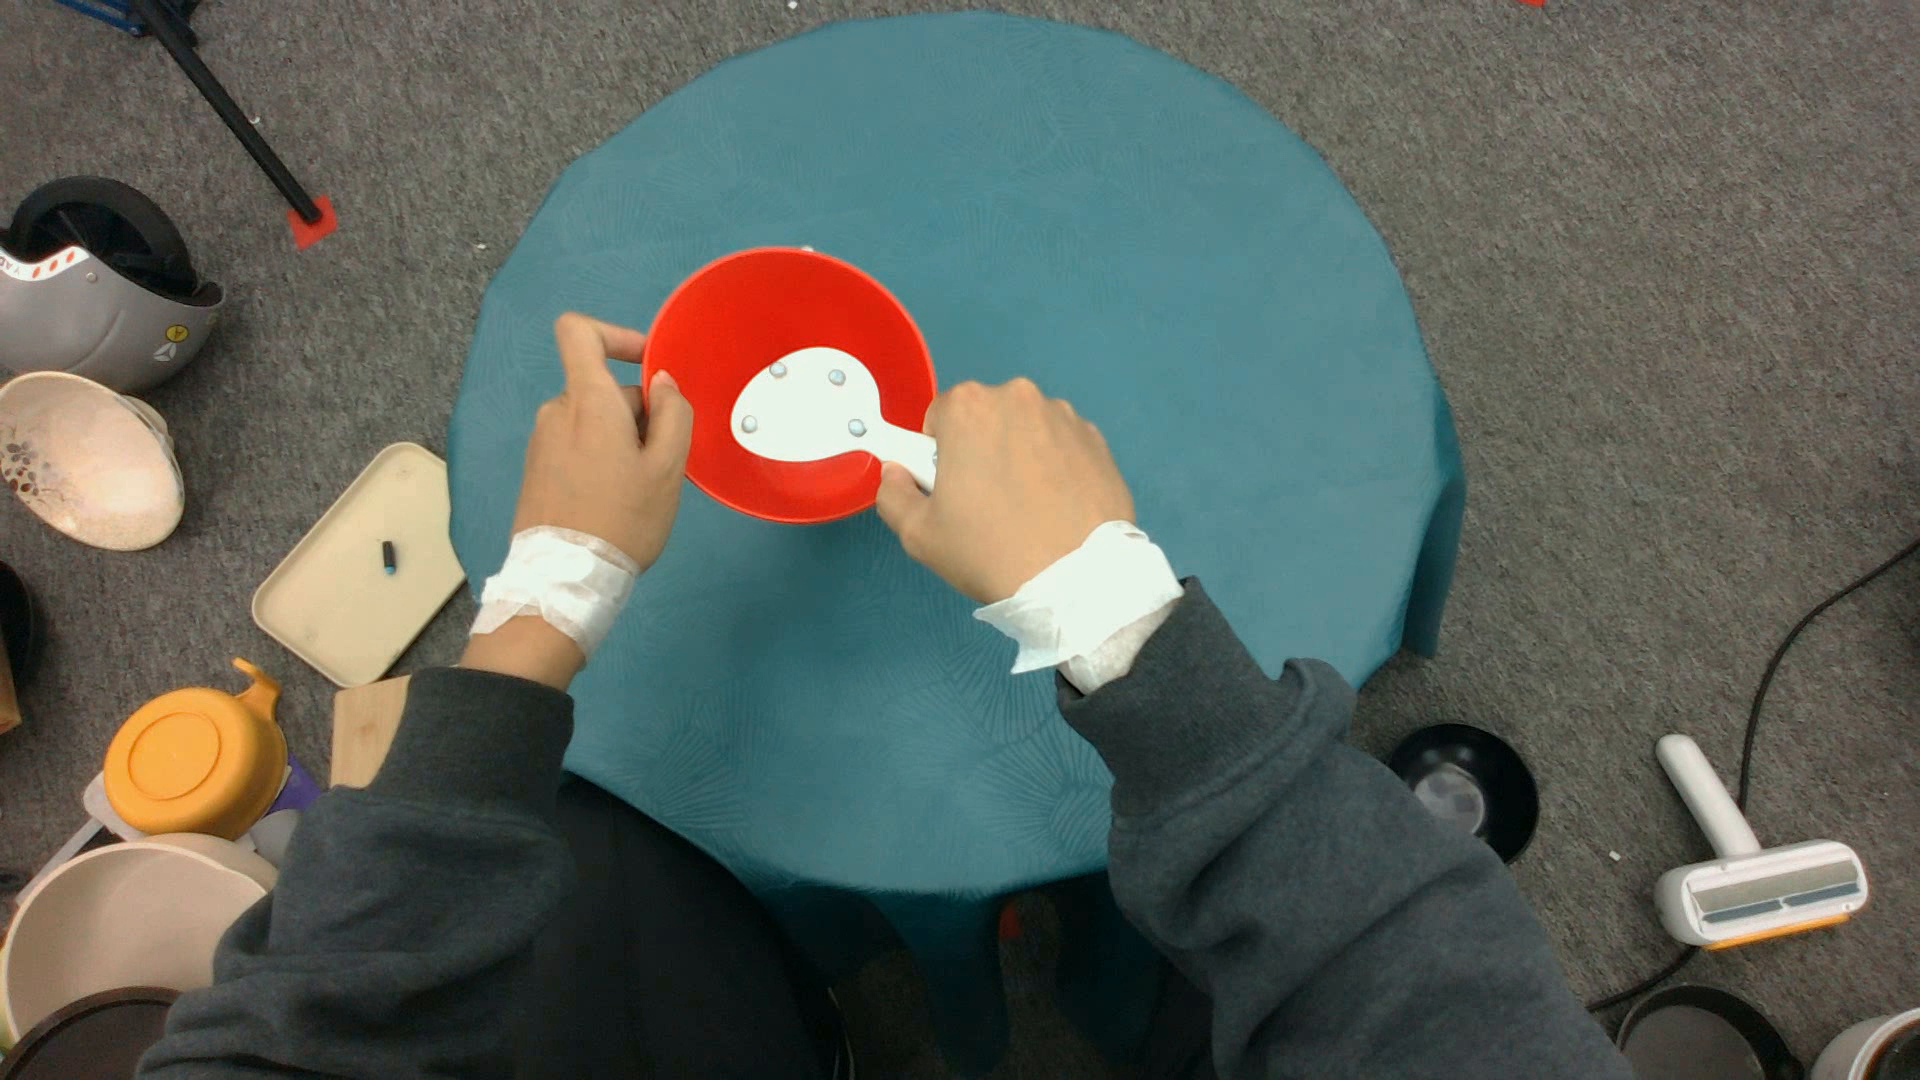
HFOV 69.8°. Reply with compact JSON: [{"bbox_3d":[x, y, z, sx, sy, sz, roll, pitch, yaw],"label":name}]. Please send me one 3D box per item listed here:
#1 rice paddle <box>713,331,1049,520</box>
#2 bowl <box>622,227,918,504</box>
[{"bbox_3d":[-0.045,-0.055,0.623,0.205,0.029,0.069,25,68,40],"label":"rice paddle"},{"bbox_3d":[-0.098,-0.079,0.729,0.148,0.104,0.148,2,73,-7],"label":"bowl"}]
